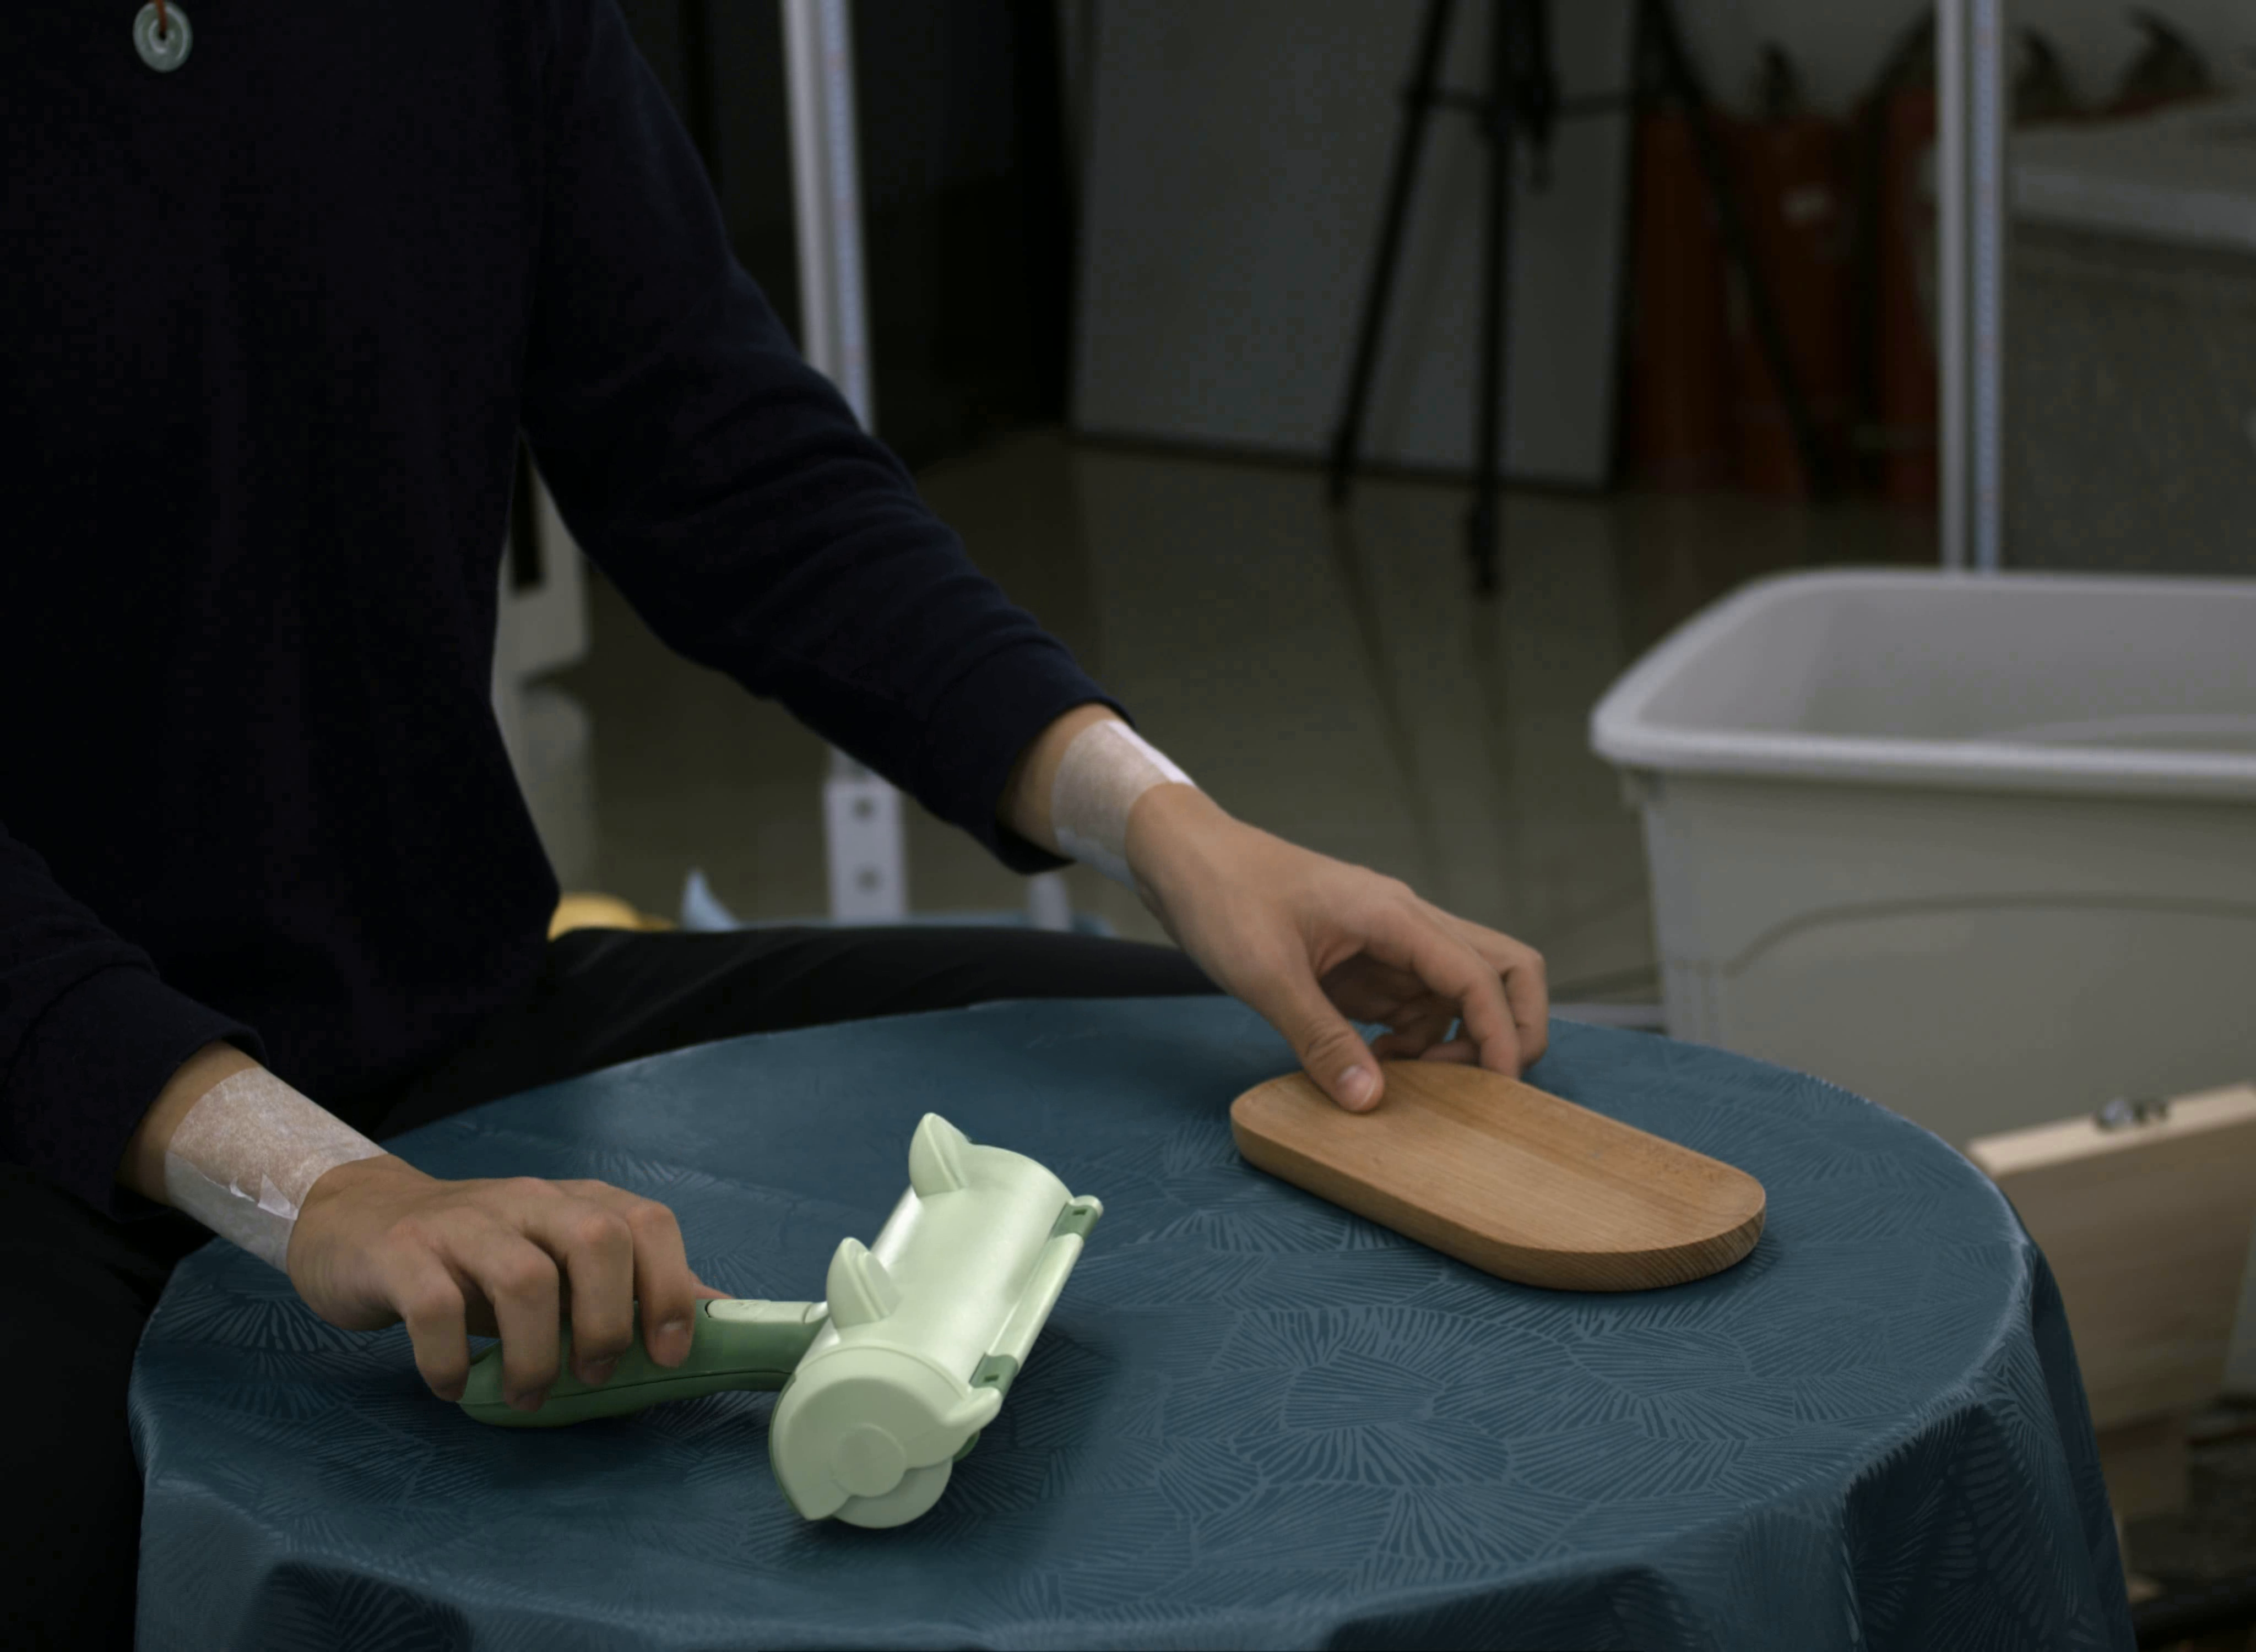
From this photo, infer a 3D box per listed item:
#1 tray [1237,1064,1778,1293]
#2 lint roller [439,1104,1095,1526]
[{"bbox_3d":[0.120,0.112,1.737,0.099,0.020,0.233,-13,18,-28],"label":"tray"},{"bbox_3d":[-0.112,0.134,1.571,0.182,0.083,0.198,4,14,9],"label":"lint roller"}]
